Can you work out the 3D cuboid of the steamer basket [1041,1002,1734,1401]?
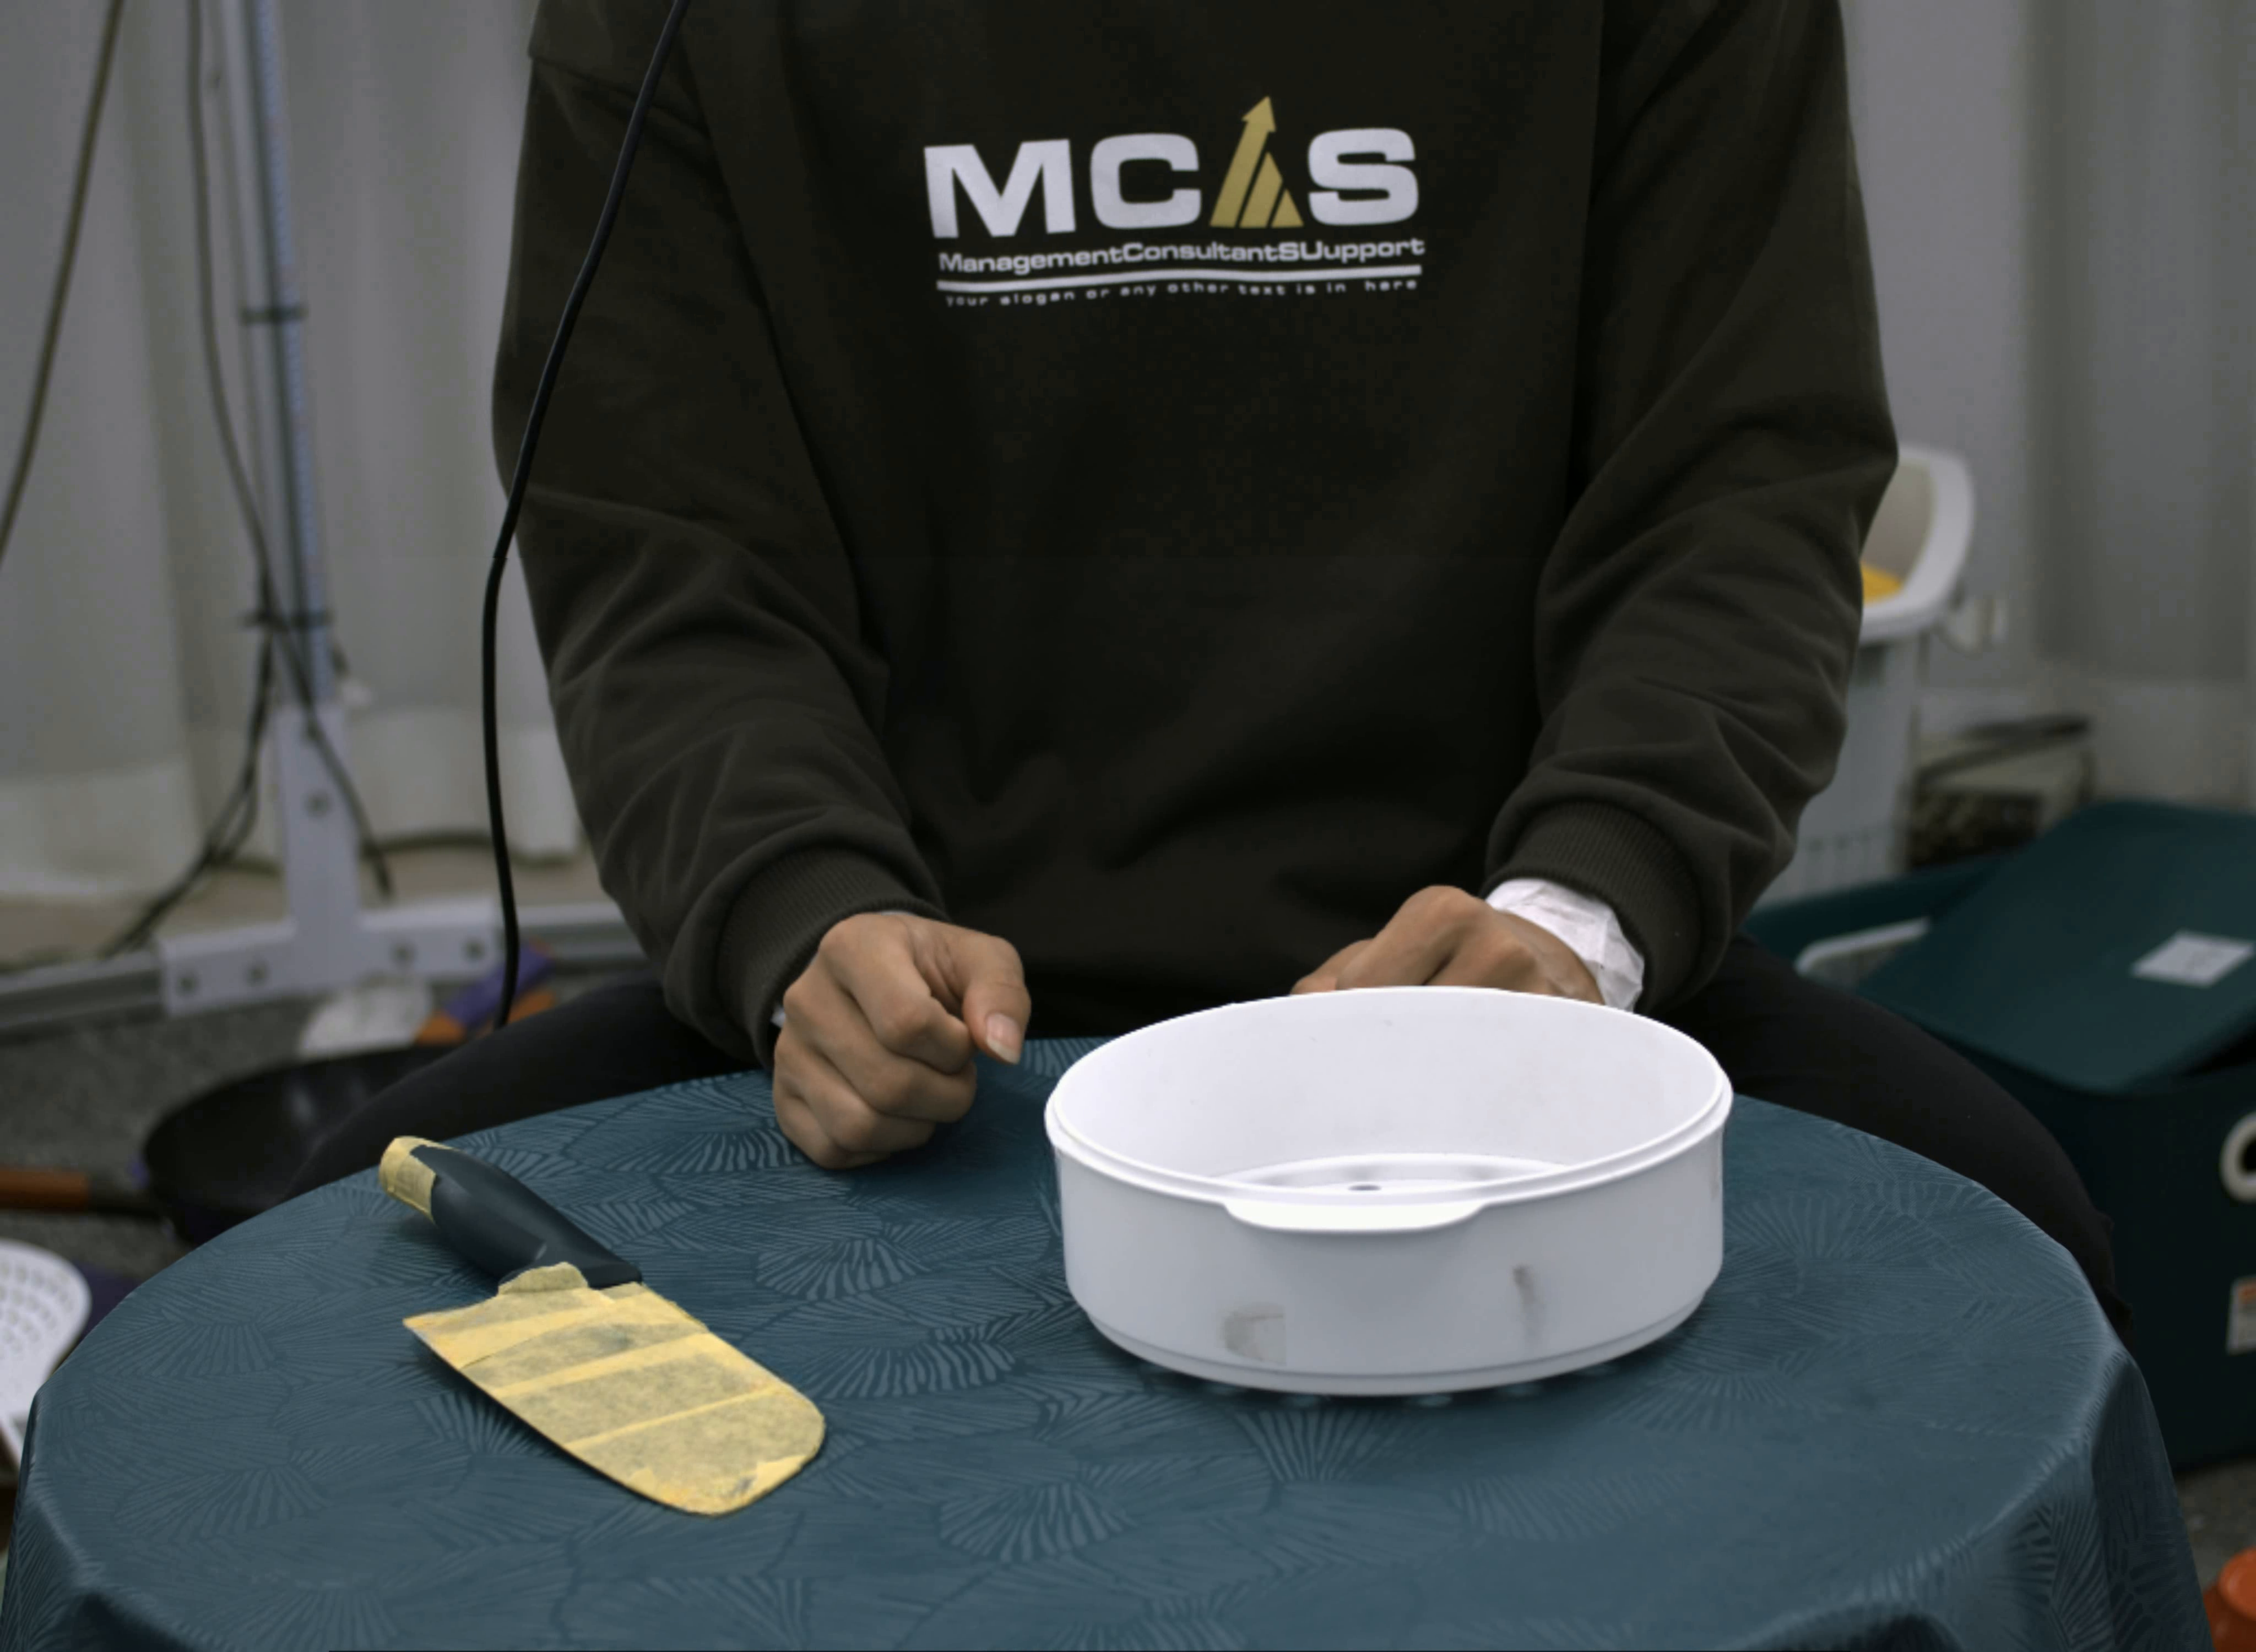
[{"bbox_3d":[0.076,0.109,1.596,0.201,0.069,0.231,1,14,9],"label":"steamer basket"}]

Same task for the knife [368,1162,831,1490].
[{"bbox_3d":[-0.169,0.147,1.598,0.080,0.027,0.292,-8,16,-28],"label":"knife"}]
